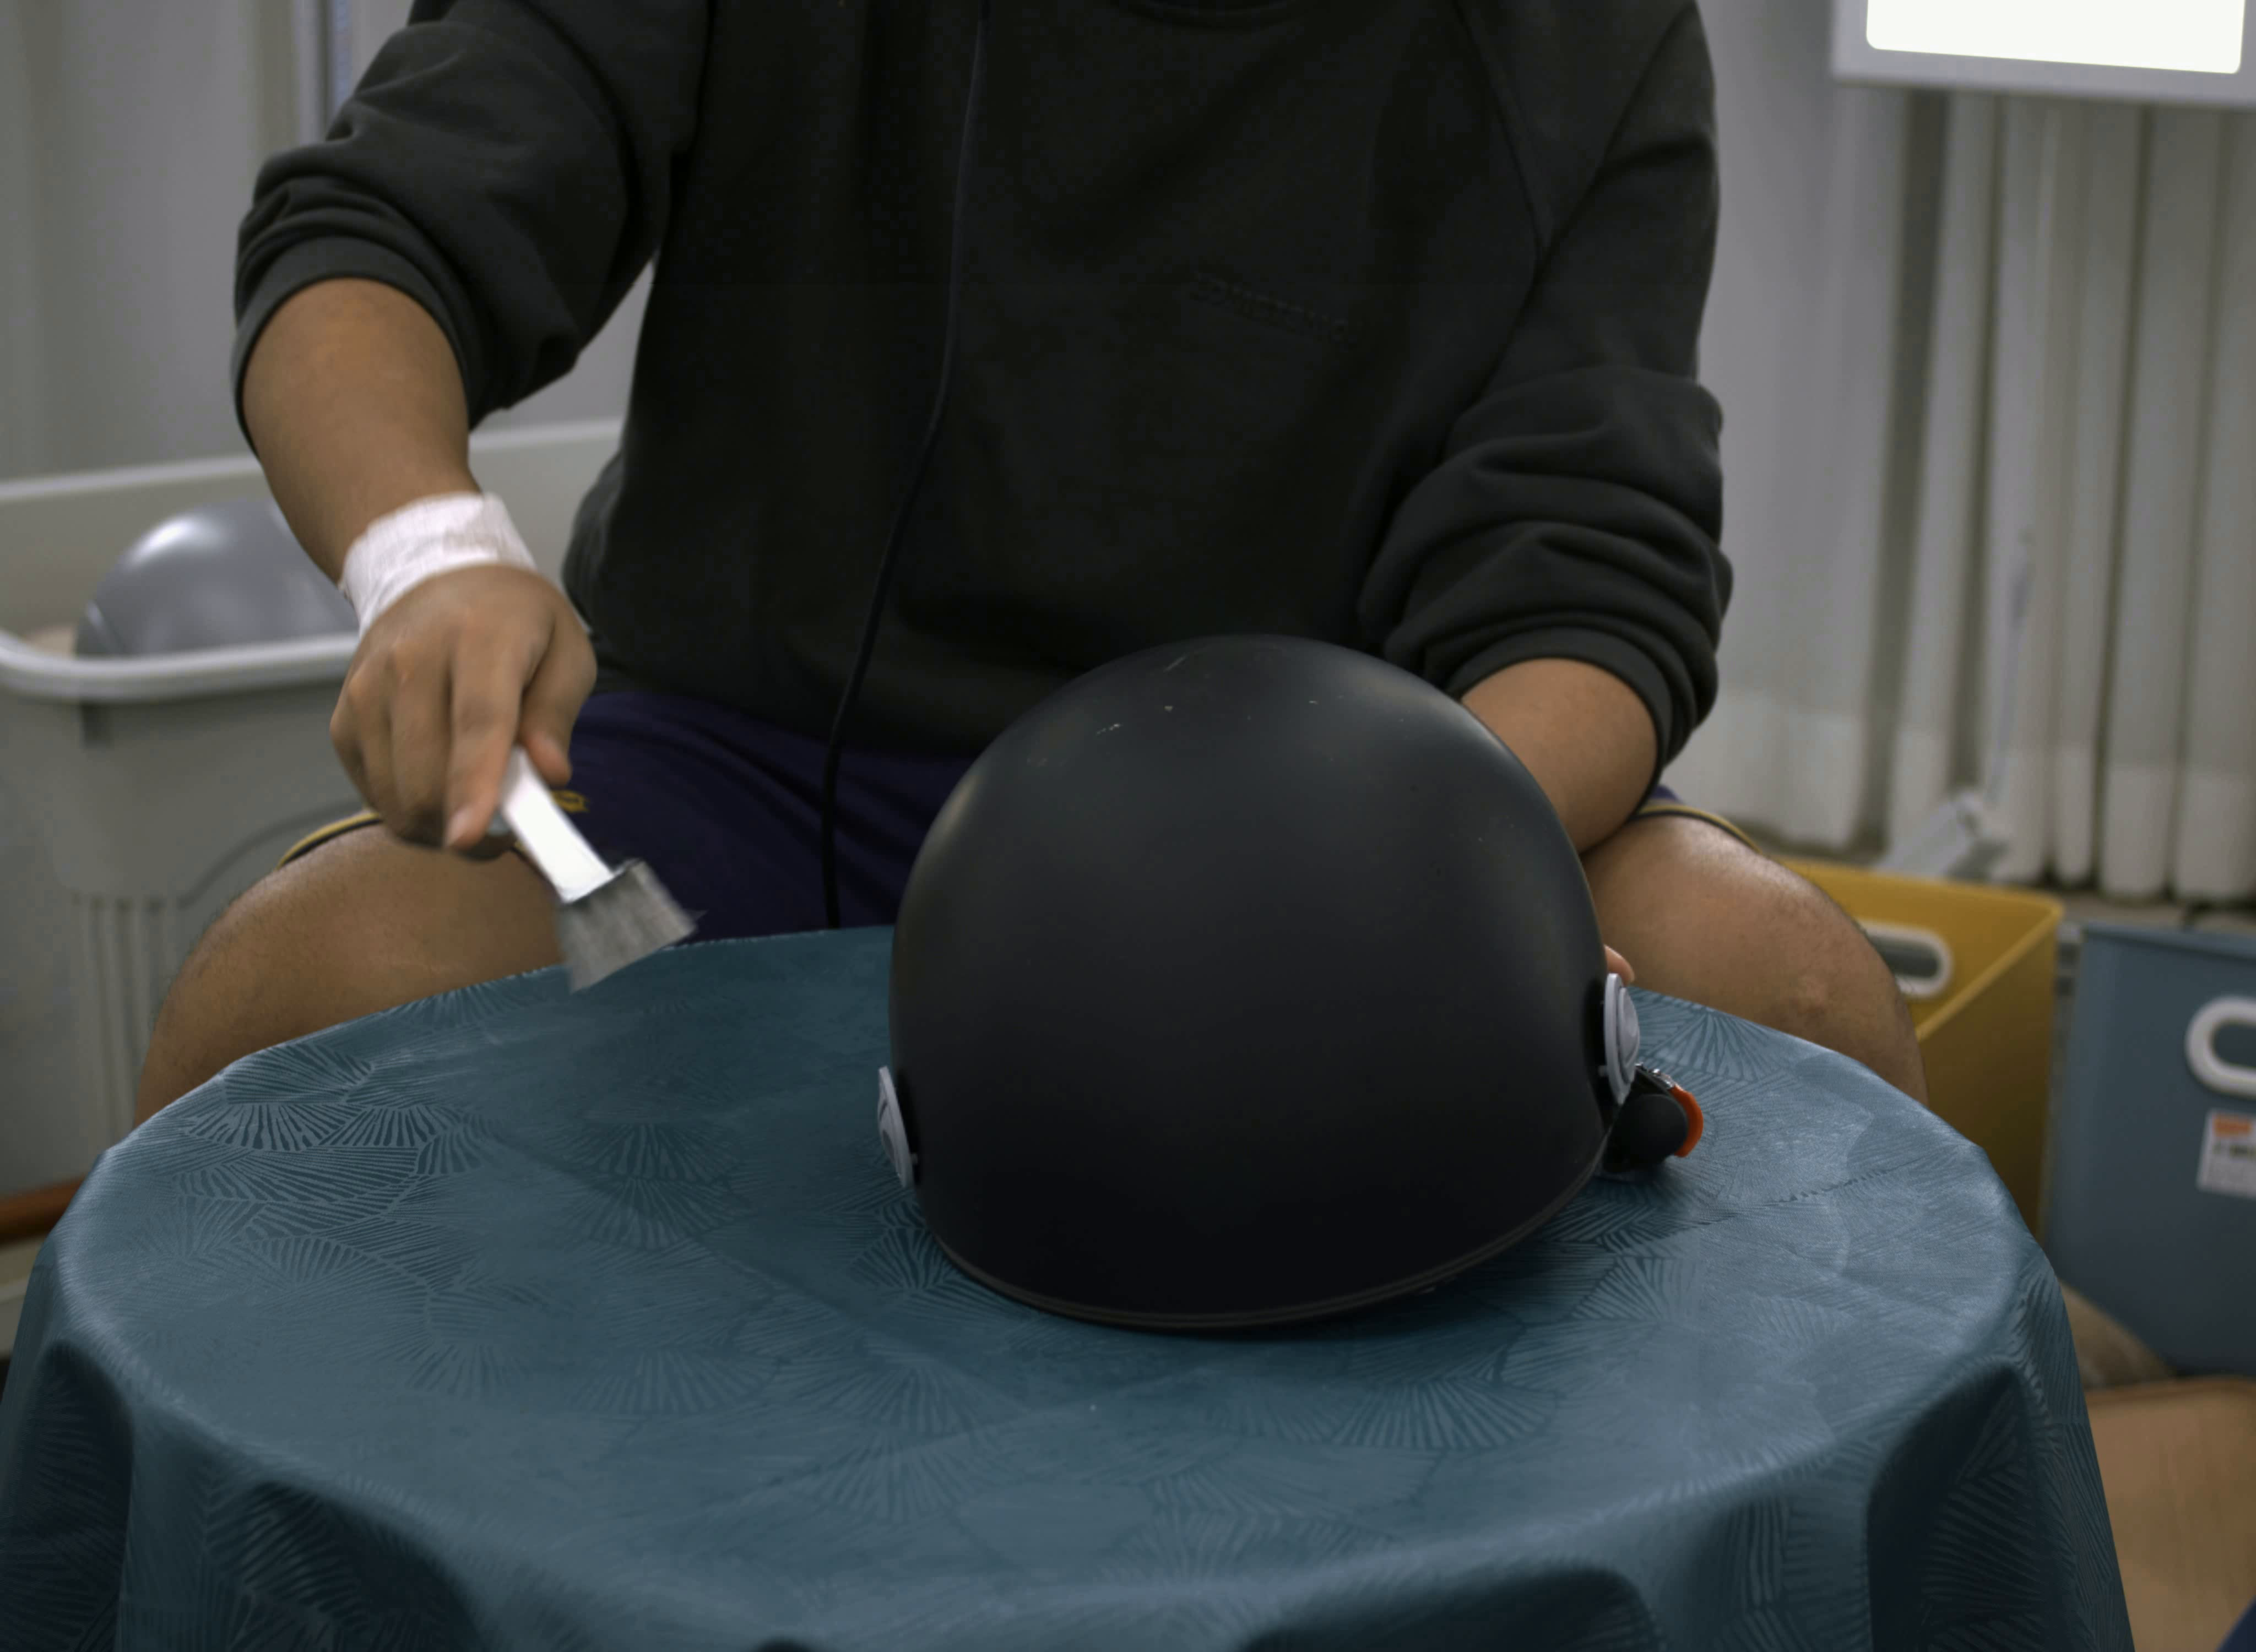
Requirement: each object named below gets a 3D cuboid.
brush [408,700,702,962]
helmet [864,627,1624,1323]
[{"bbox_3d":[-0.176,0.002,1.604,0.034,0.051,0.241,-30,19,-13],"label":"brush"},{"bbox_3d":[0.031,0.031,1.598,0.229,0.168,0.271,-7,18,5],"label":"helmet"}]
